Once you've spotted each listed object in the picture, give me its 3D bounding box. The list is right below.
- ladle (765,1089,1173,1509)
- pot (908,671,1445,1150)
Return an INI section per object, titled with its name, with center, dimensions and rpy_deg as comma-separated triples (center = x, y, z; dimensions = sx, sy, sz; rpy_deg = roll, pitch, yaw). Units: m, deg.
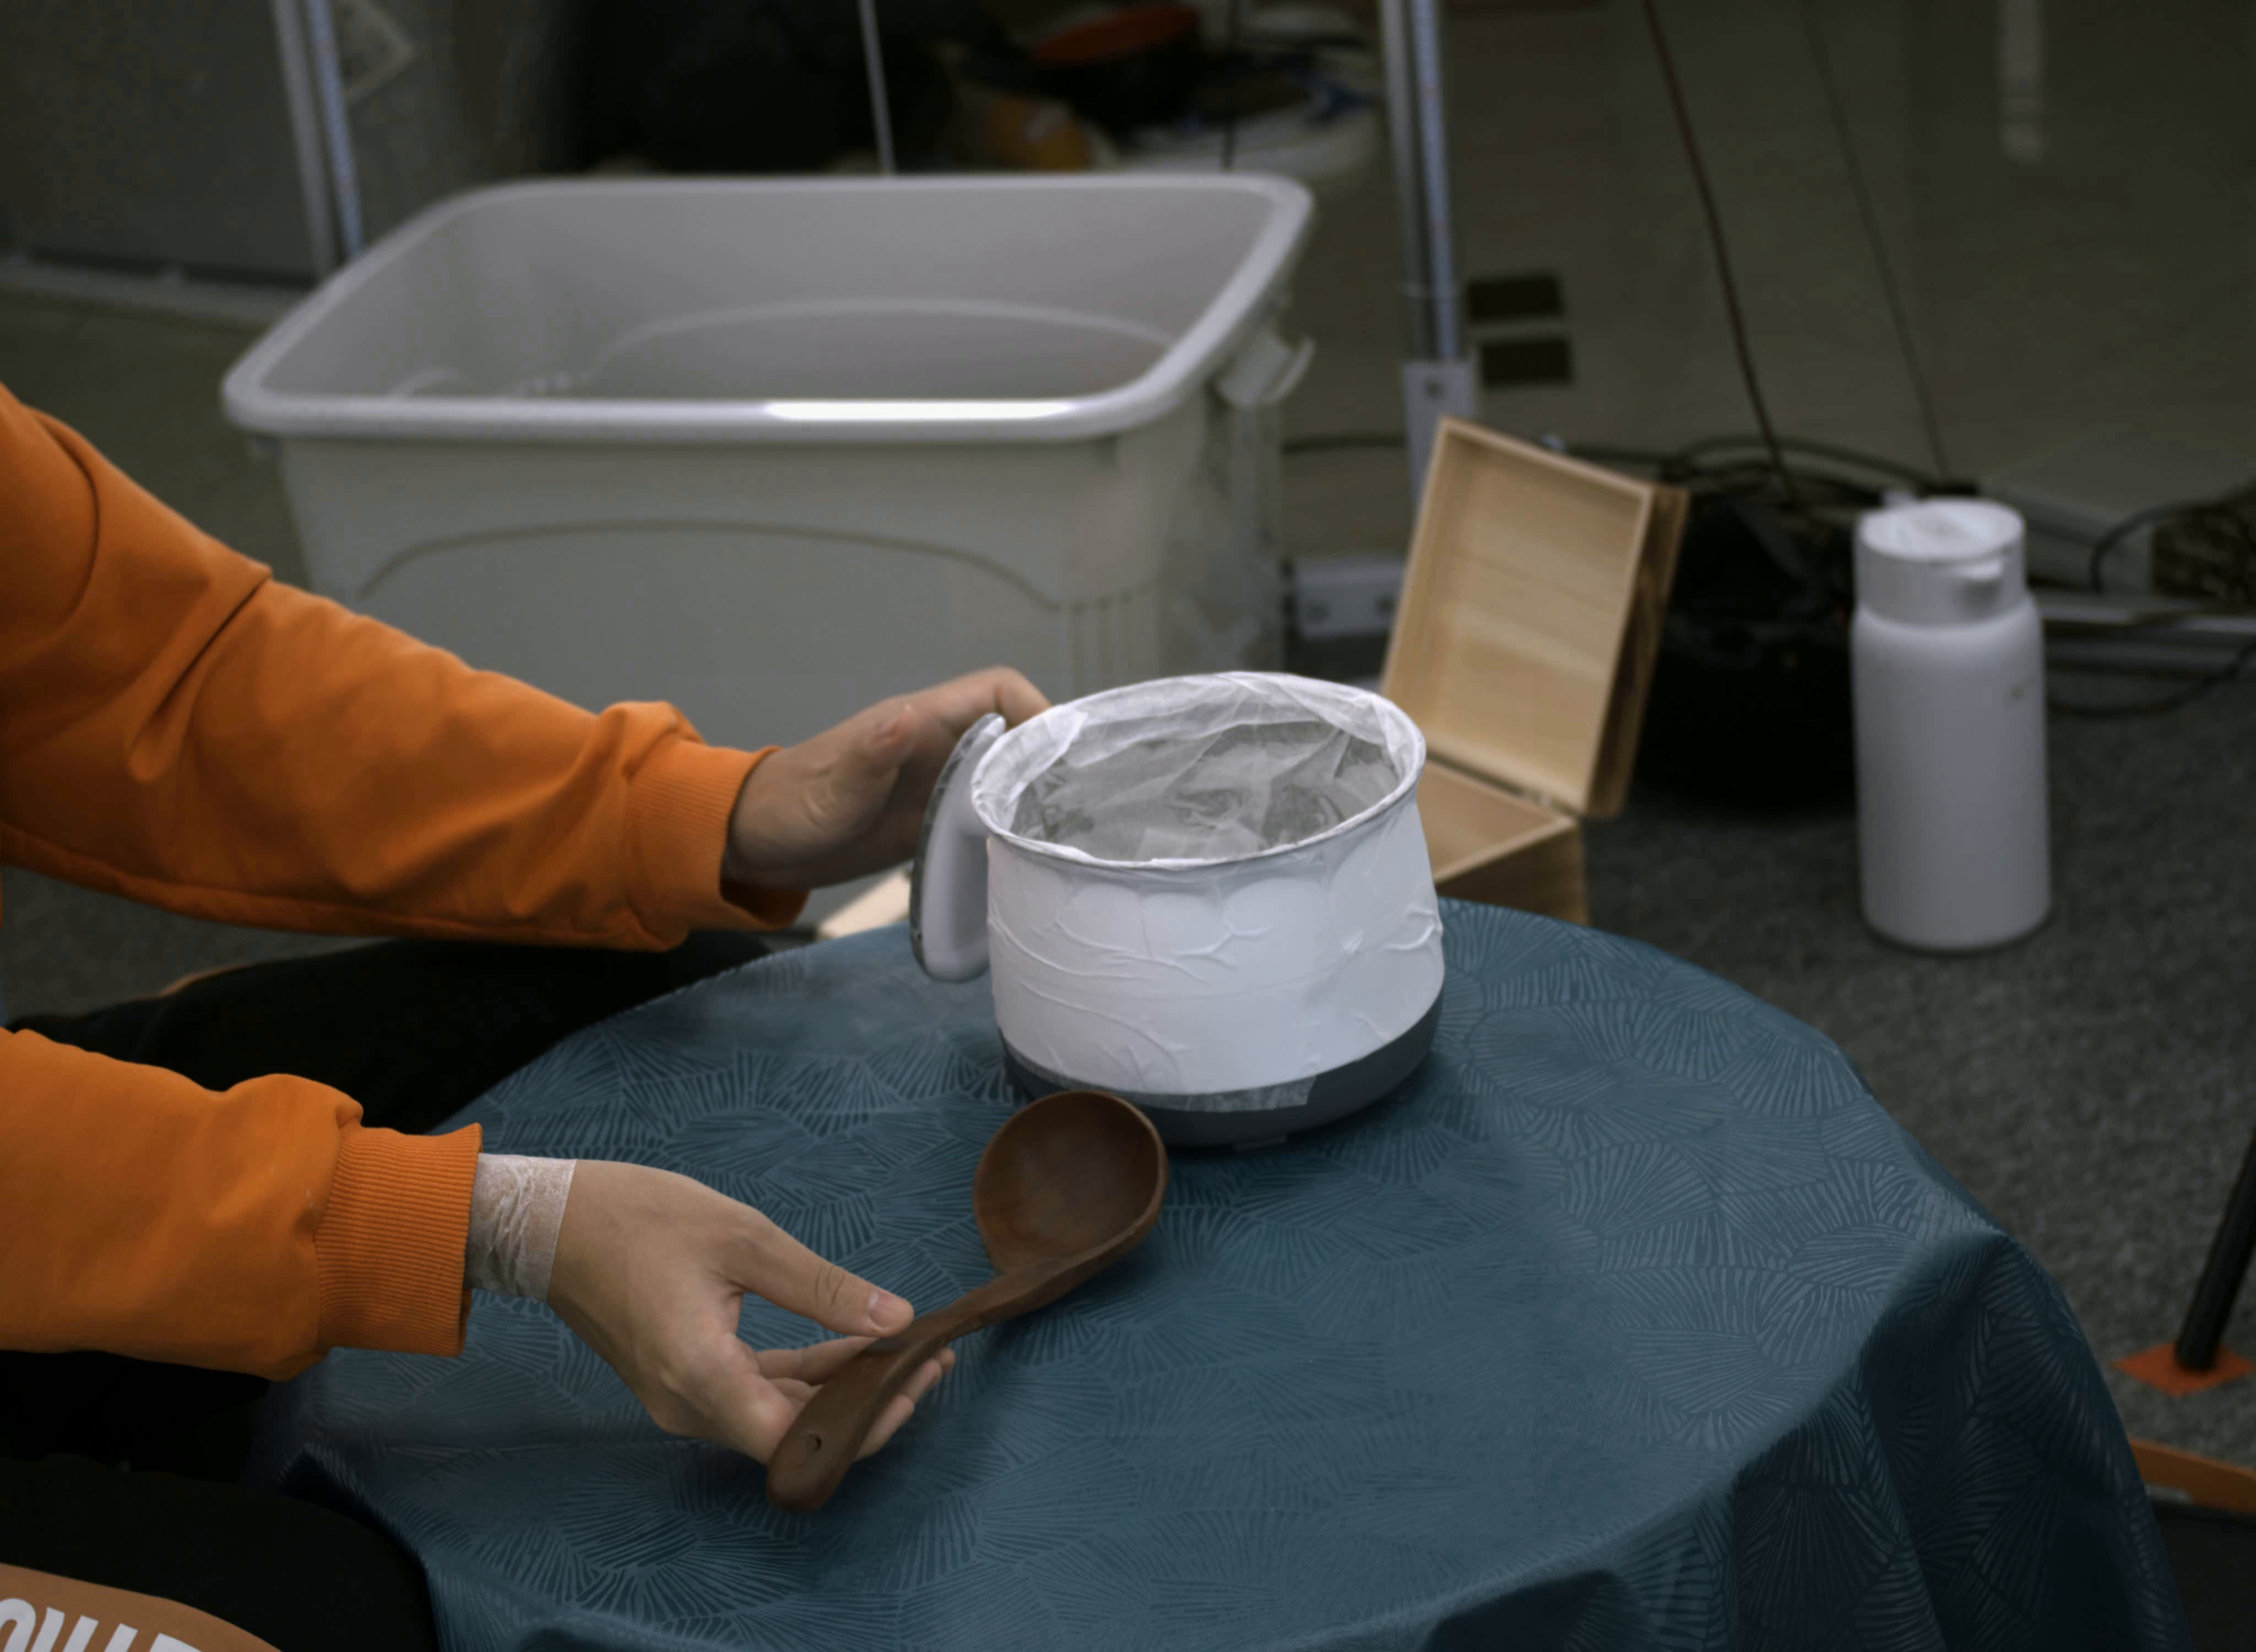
[ladle]
center = -0.062, 0.163, 2.013
dimensions = 0.076, 0.066, 0.258
rpy_deg = 3, 19, 27
[pot]
center = 0.010, 0.029, 2.213
dimensions = 0.232, 0.139, 0.177
rpy_deg = 11, 30, 32
